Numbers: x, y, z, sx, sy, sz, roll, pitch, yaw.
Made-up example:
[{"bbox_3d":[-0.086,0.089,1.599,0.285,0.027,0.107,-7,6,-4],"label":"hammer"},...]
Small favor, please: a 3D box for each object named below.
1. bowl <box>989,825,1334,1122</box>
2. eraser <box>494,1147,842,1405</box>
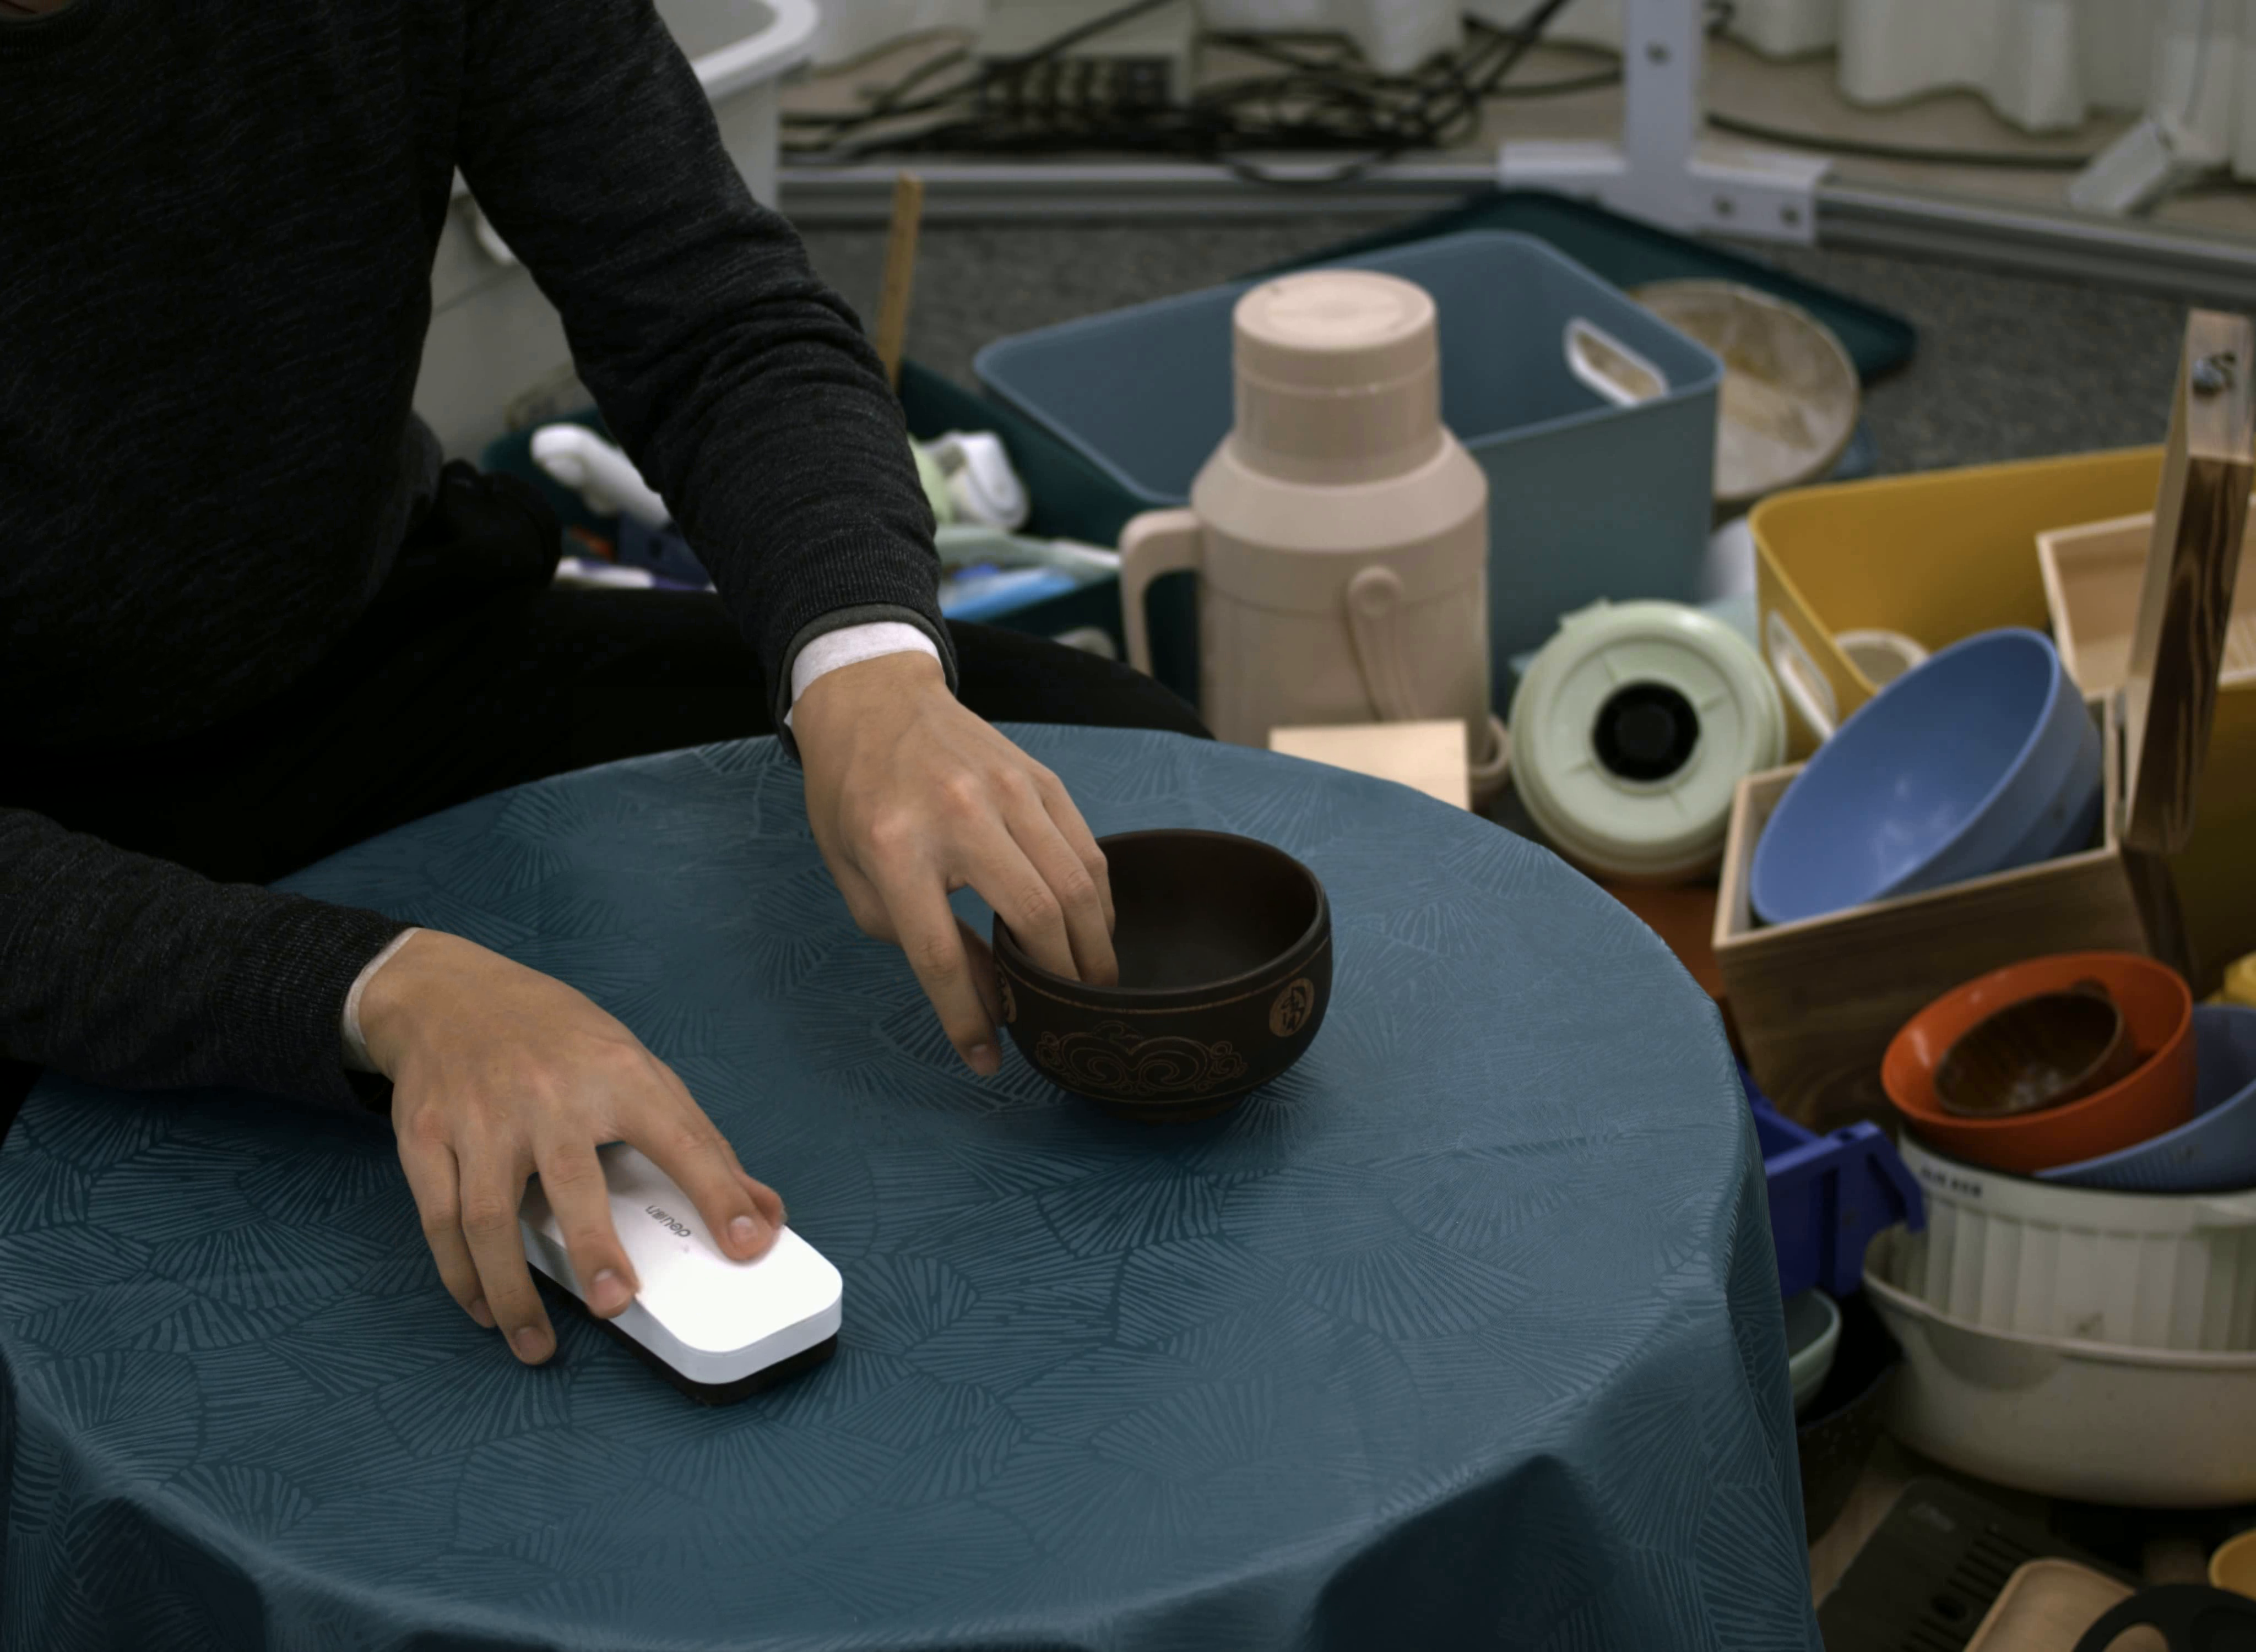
[{"bbox_3d":[0.013,0.057,1.908,0.117,0.069,0.120,-3,27,2],"label":"bowl"},{"bbox_3d":[-0.147,0.141,1.806,0.064,0.034,0.131,-21,32,-32],"label":"eraser"}]
